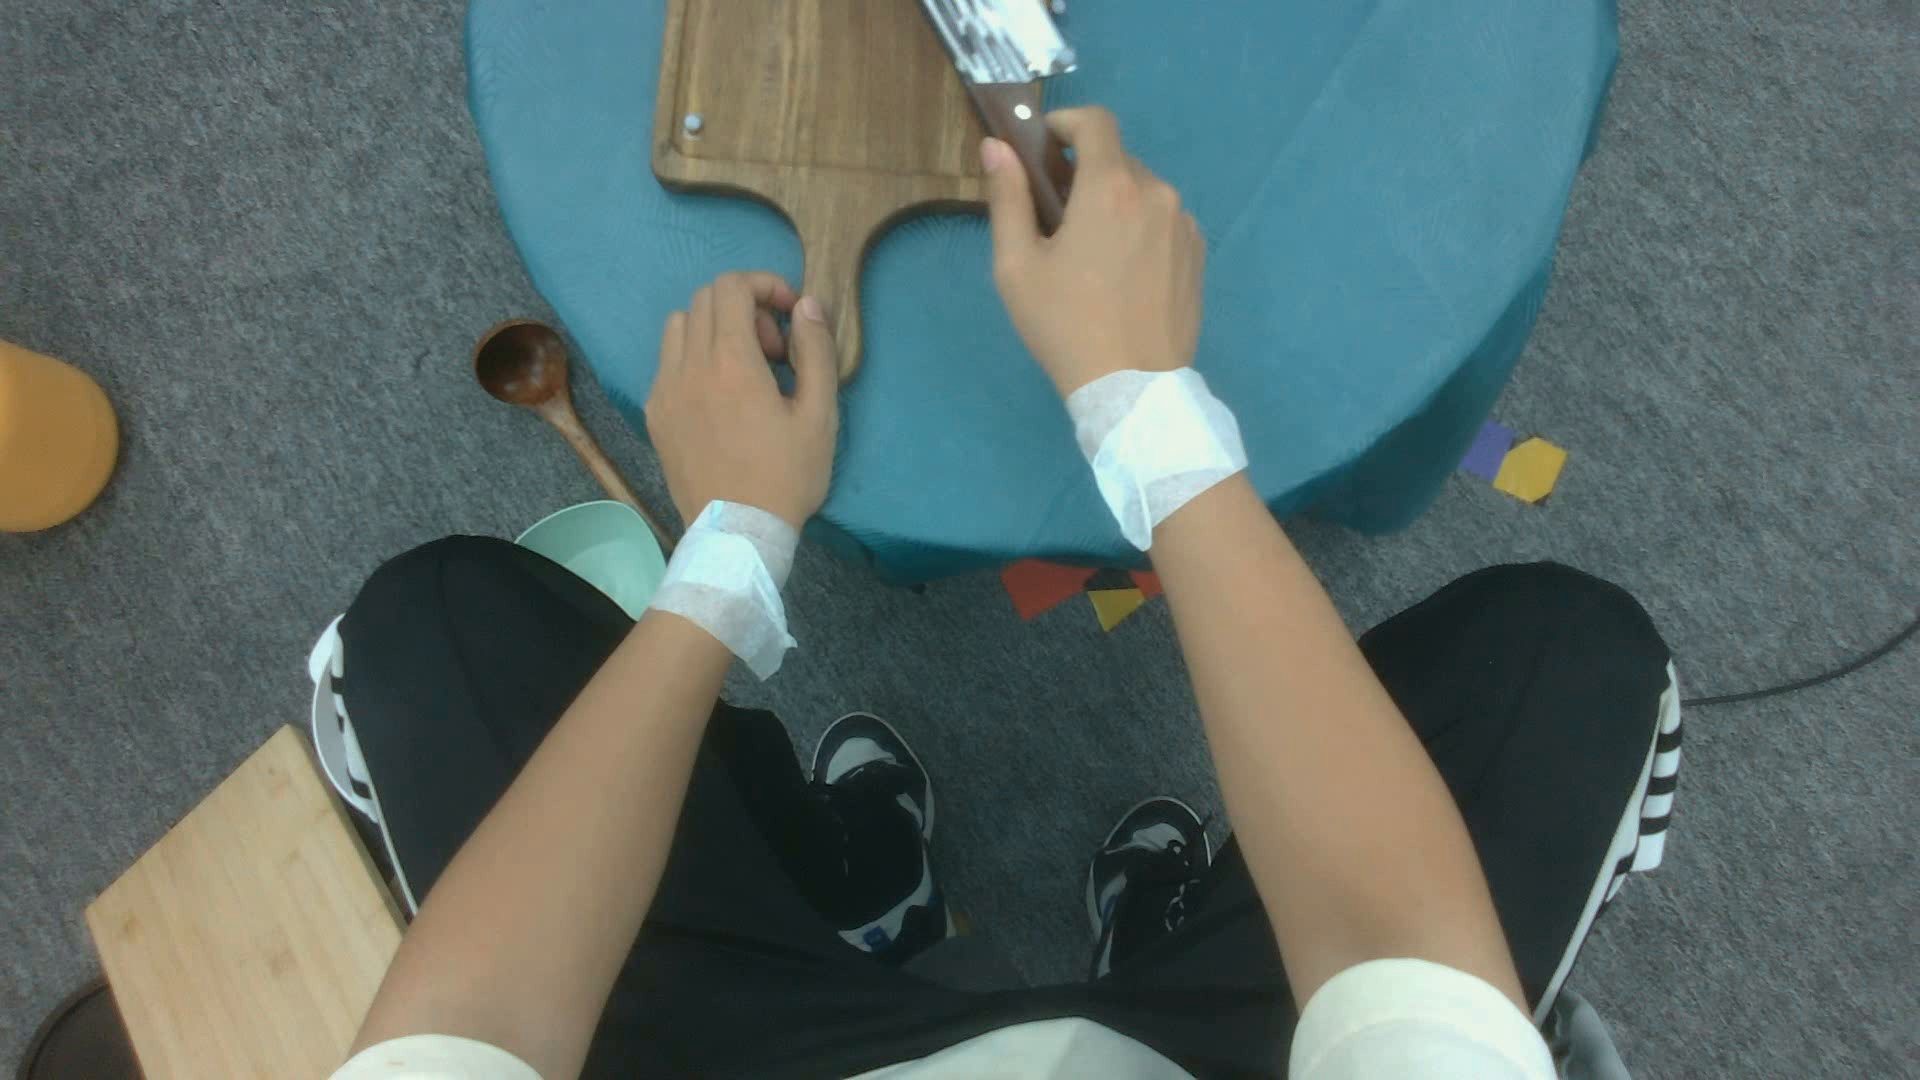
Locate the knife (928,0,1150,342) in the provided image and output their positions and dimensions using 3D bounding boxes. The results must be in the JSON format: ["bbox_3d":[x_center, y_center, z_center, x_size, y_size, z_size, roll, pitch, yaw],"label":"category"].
[{"bbox_3d":[0.028,-0.232,0.650,0.068,0.024,0.299,-24,84,-28],"label":"knife"}]

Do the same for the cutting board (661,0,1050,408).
[{"bbox_3d":[-0.055,-0.244,0.734,0.201,0.023,0.352,4,83,3],"label":"cutting board"}]
